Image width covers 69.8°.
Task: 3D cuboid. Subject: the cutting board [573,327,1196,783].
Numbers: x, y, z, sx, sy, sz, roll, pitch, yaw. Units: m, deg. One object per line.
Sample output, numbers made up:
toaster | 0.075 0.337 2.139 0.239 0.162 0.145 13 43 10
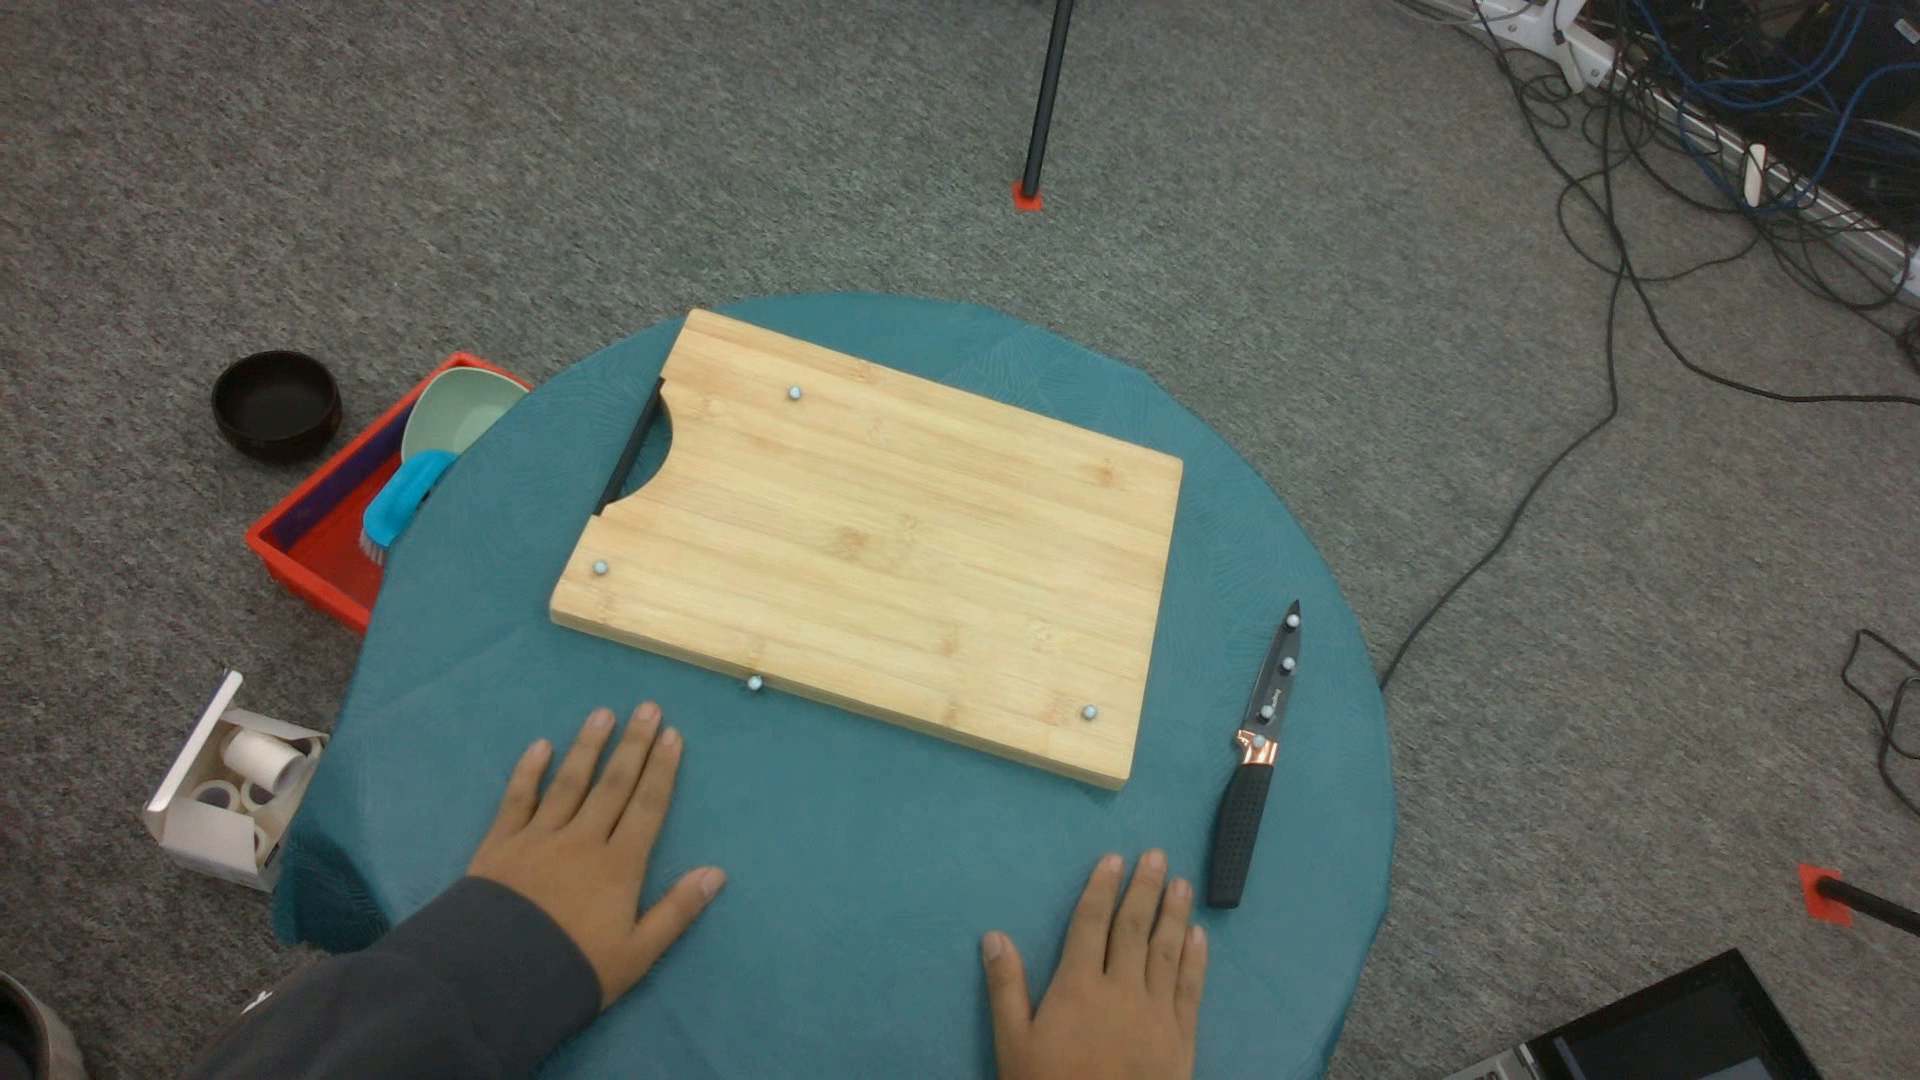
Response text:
cutting board | -0.033 0.000 0.859 0.348 0.023 0.252 13 55 -1

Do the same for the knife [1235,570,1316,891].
knife | 0.196 0.108 0.831 0.026 0.017 0.226 16 54 9
